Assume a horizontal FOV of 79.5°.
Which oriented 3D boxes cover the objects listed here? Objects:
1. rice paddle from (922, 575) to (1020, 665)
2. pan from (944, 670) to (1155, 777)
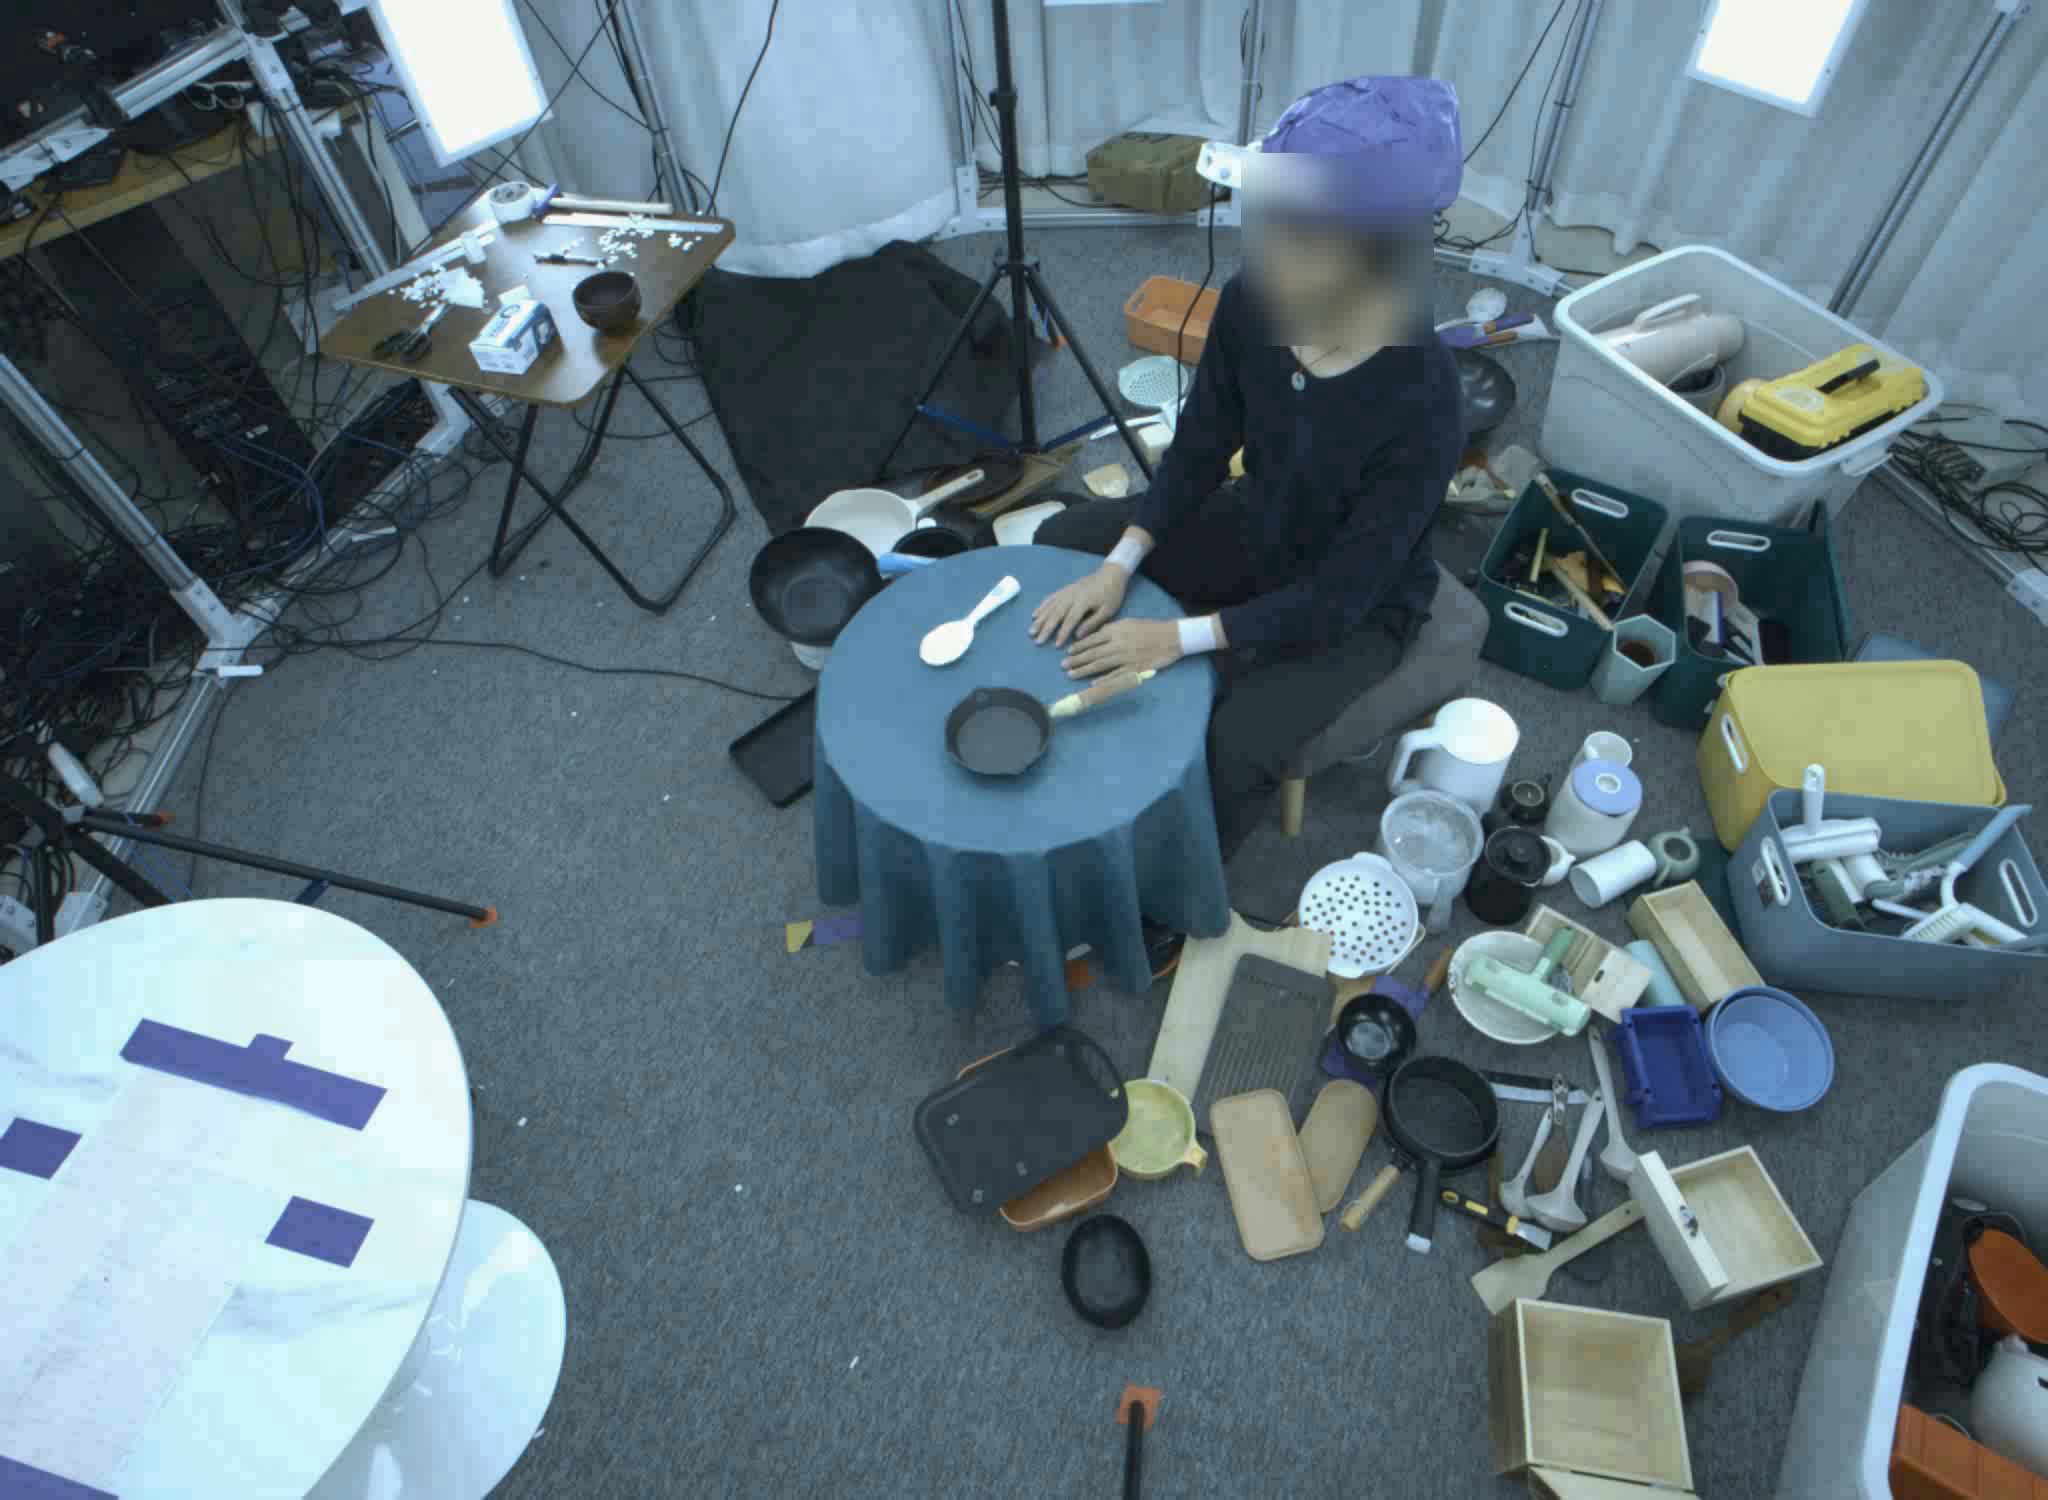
[{"bbox_3d":[-0.082,-0.202,1.915,0.067,0.030,0.206,31,61,25],"label":"rice paddle"},{"bbox_3d":[0.042,-0.052,1.791,0.326,0.050,0.166,-19,56,-9],"label":"pan"}]
